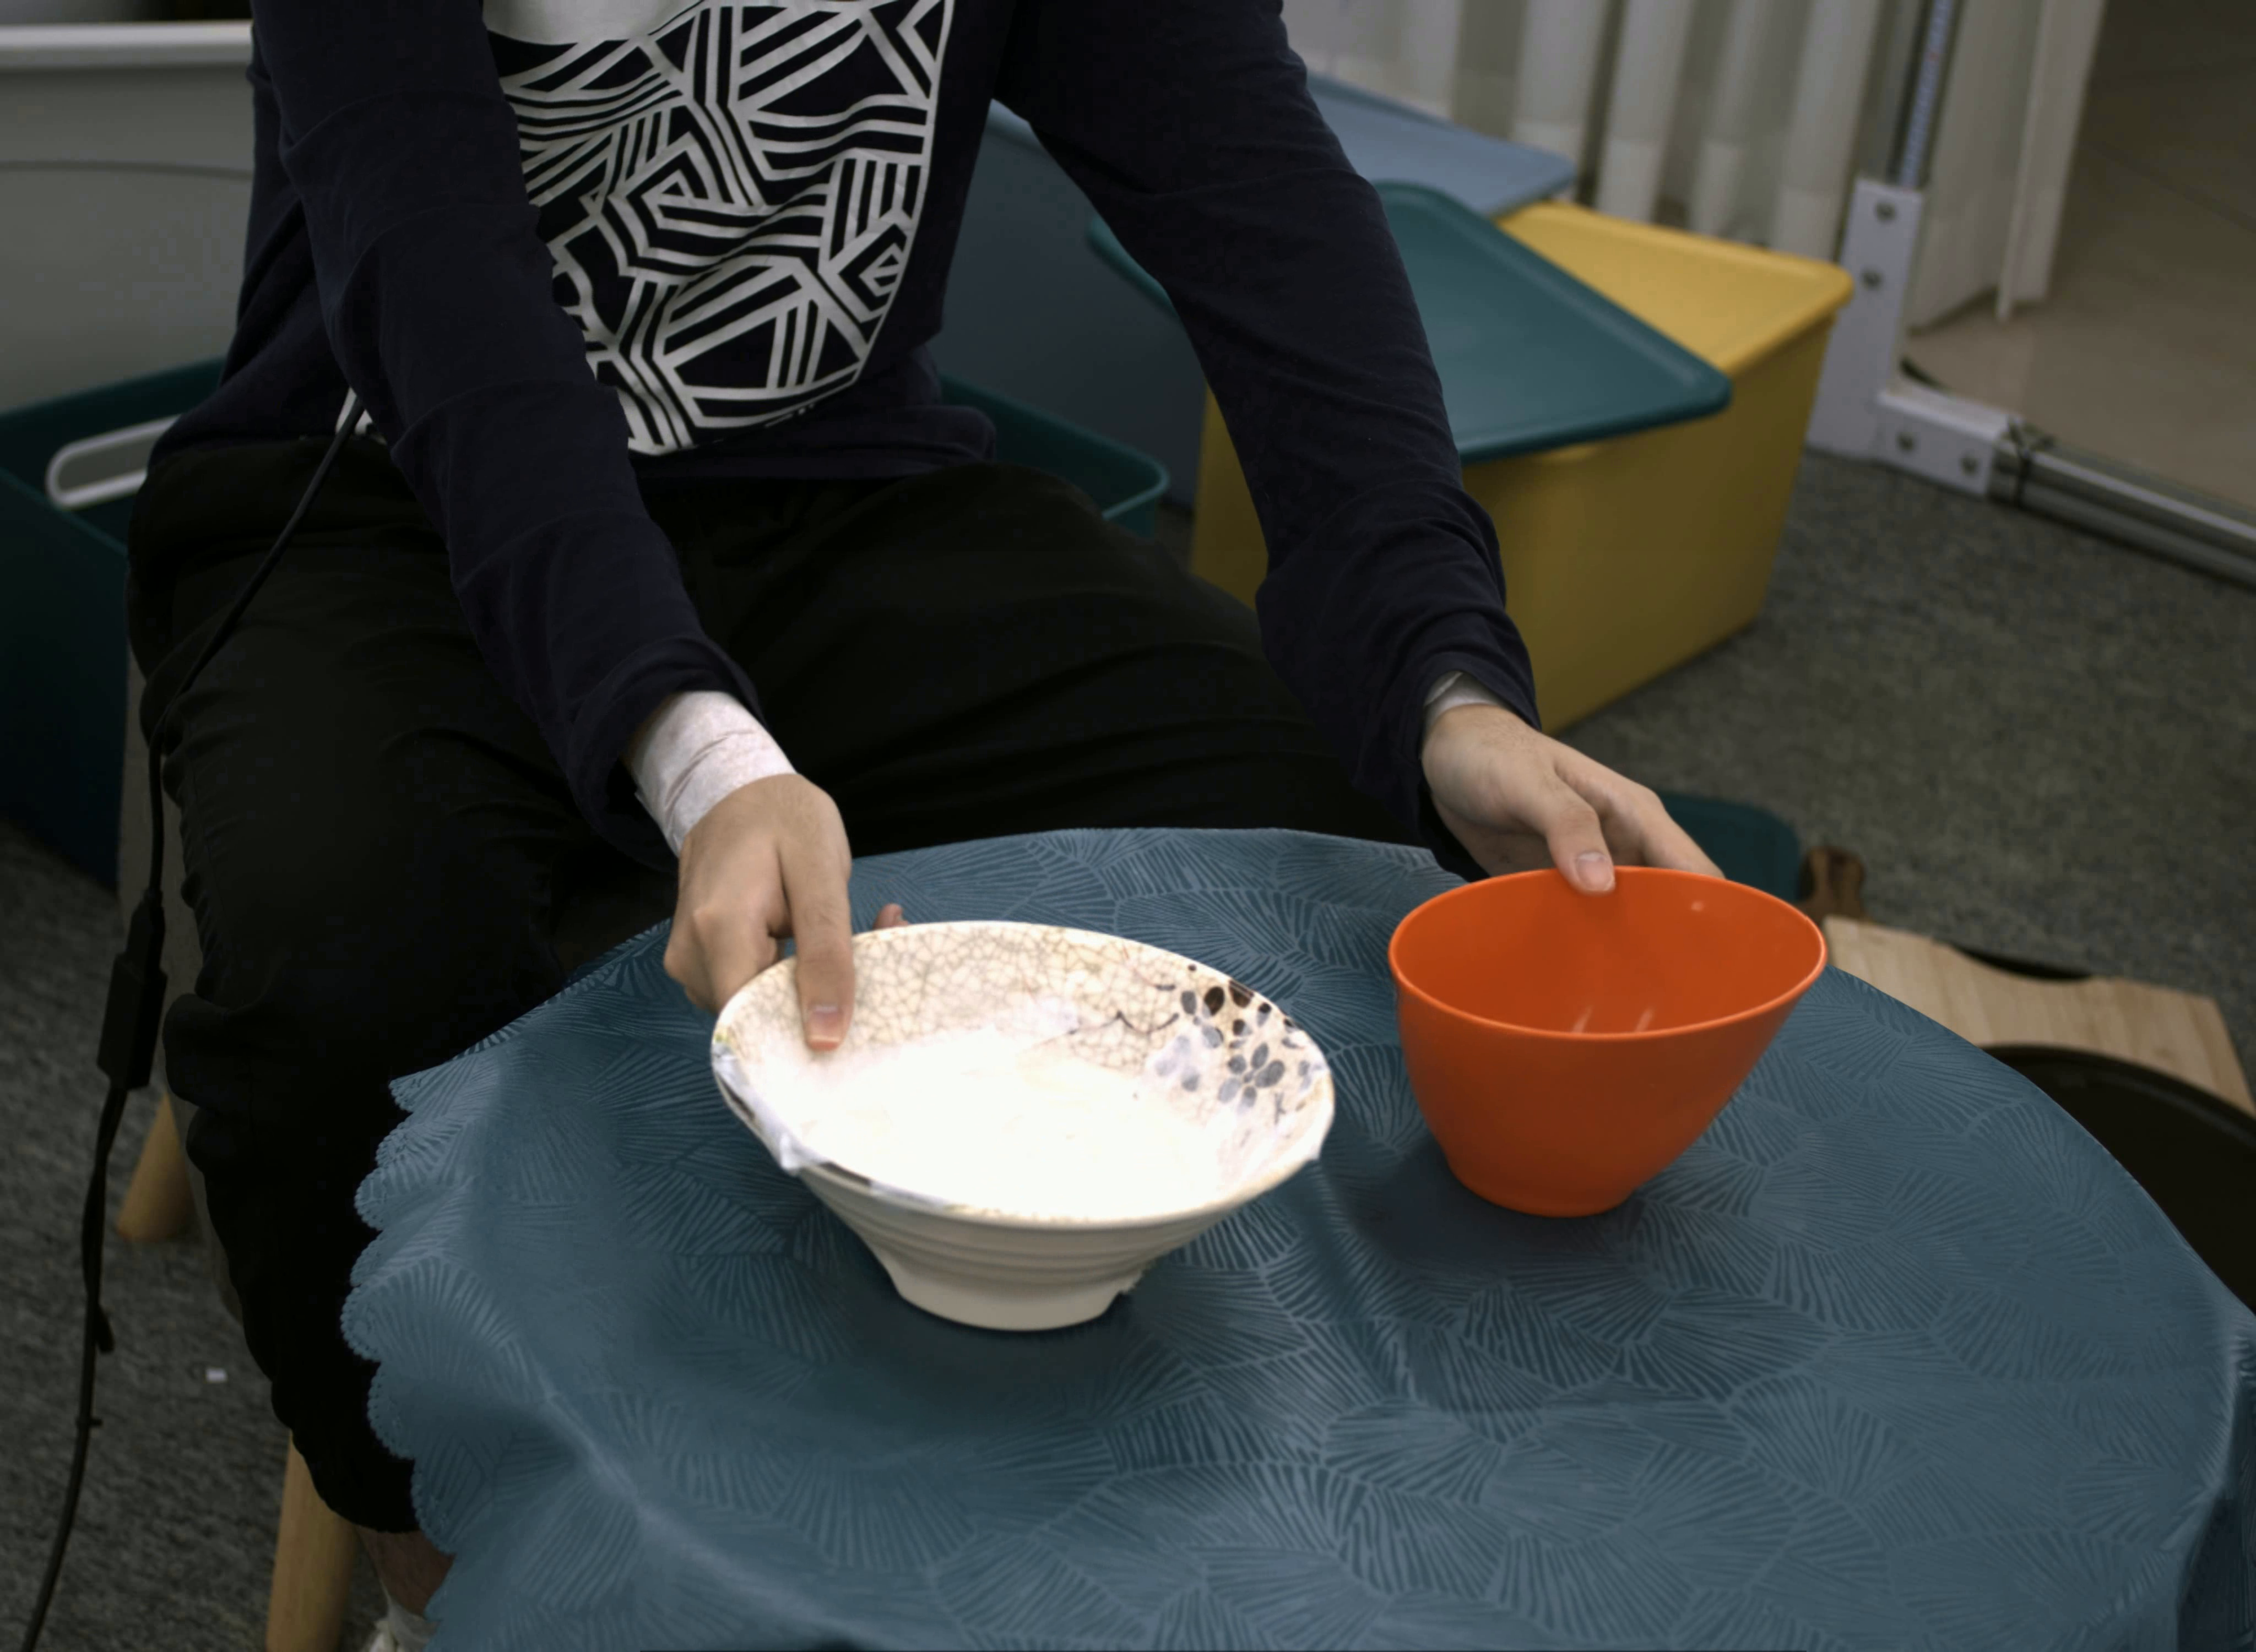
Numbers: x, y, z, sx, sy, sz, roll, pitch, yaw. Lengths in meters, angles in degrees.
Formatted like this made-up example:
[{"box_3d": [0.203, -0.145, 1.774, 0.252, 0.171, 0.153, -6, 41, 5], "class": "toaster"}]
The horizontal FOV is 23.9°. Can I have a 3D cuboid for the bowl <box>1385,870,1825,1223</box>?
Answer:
[{"box_3d": [0.157, 0.079, 1.820, 0.147, 0.104, 0.149, 4, 25, -2], "class": "bowl"}]

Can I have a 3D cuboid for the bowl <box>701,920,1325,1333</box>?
[{"box_3d": [-0.040, 0.110, 1.736, 0.203, 0.078, 0.205, 5, 25, -3], "class": "bowl"}]
